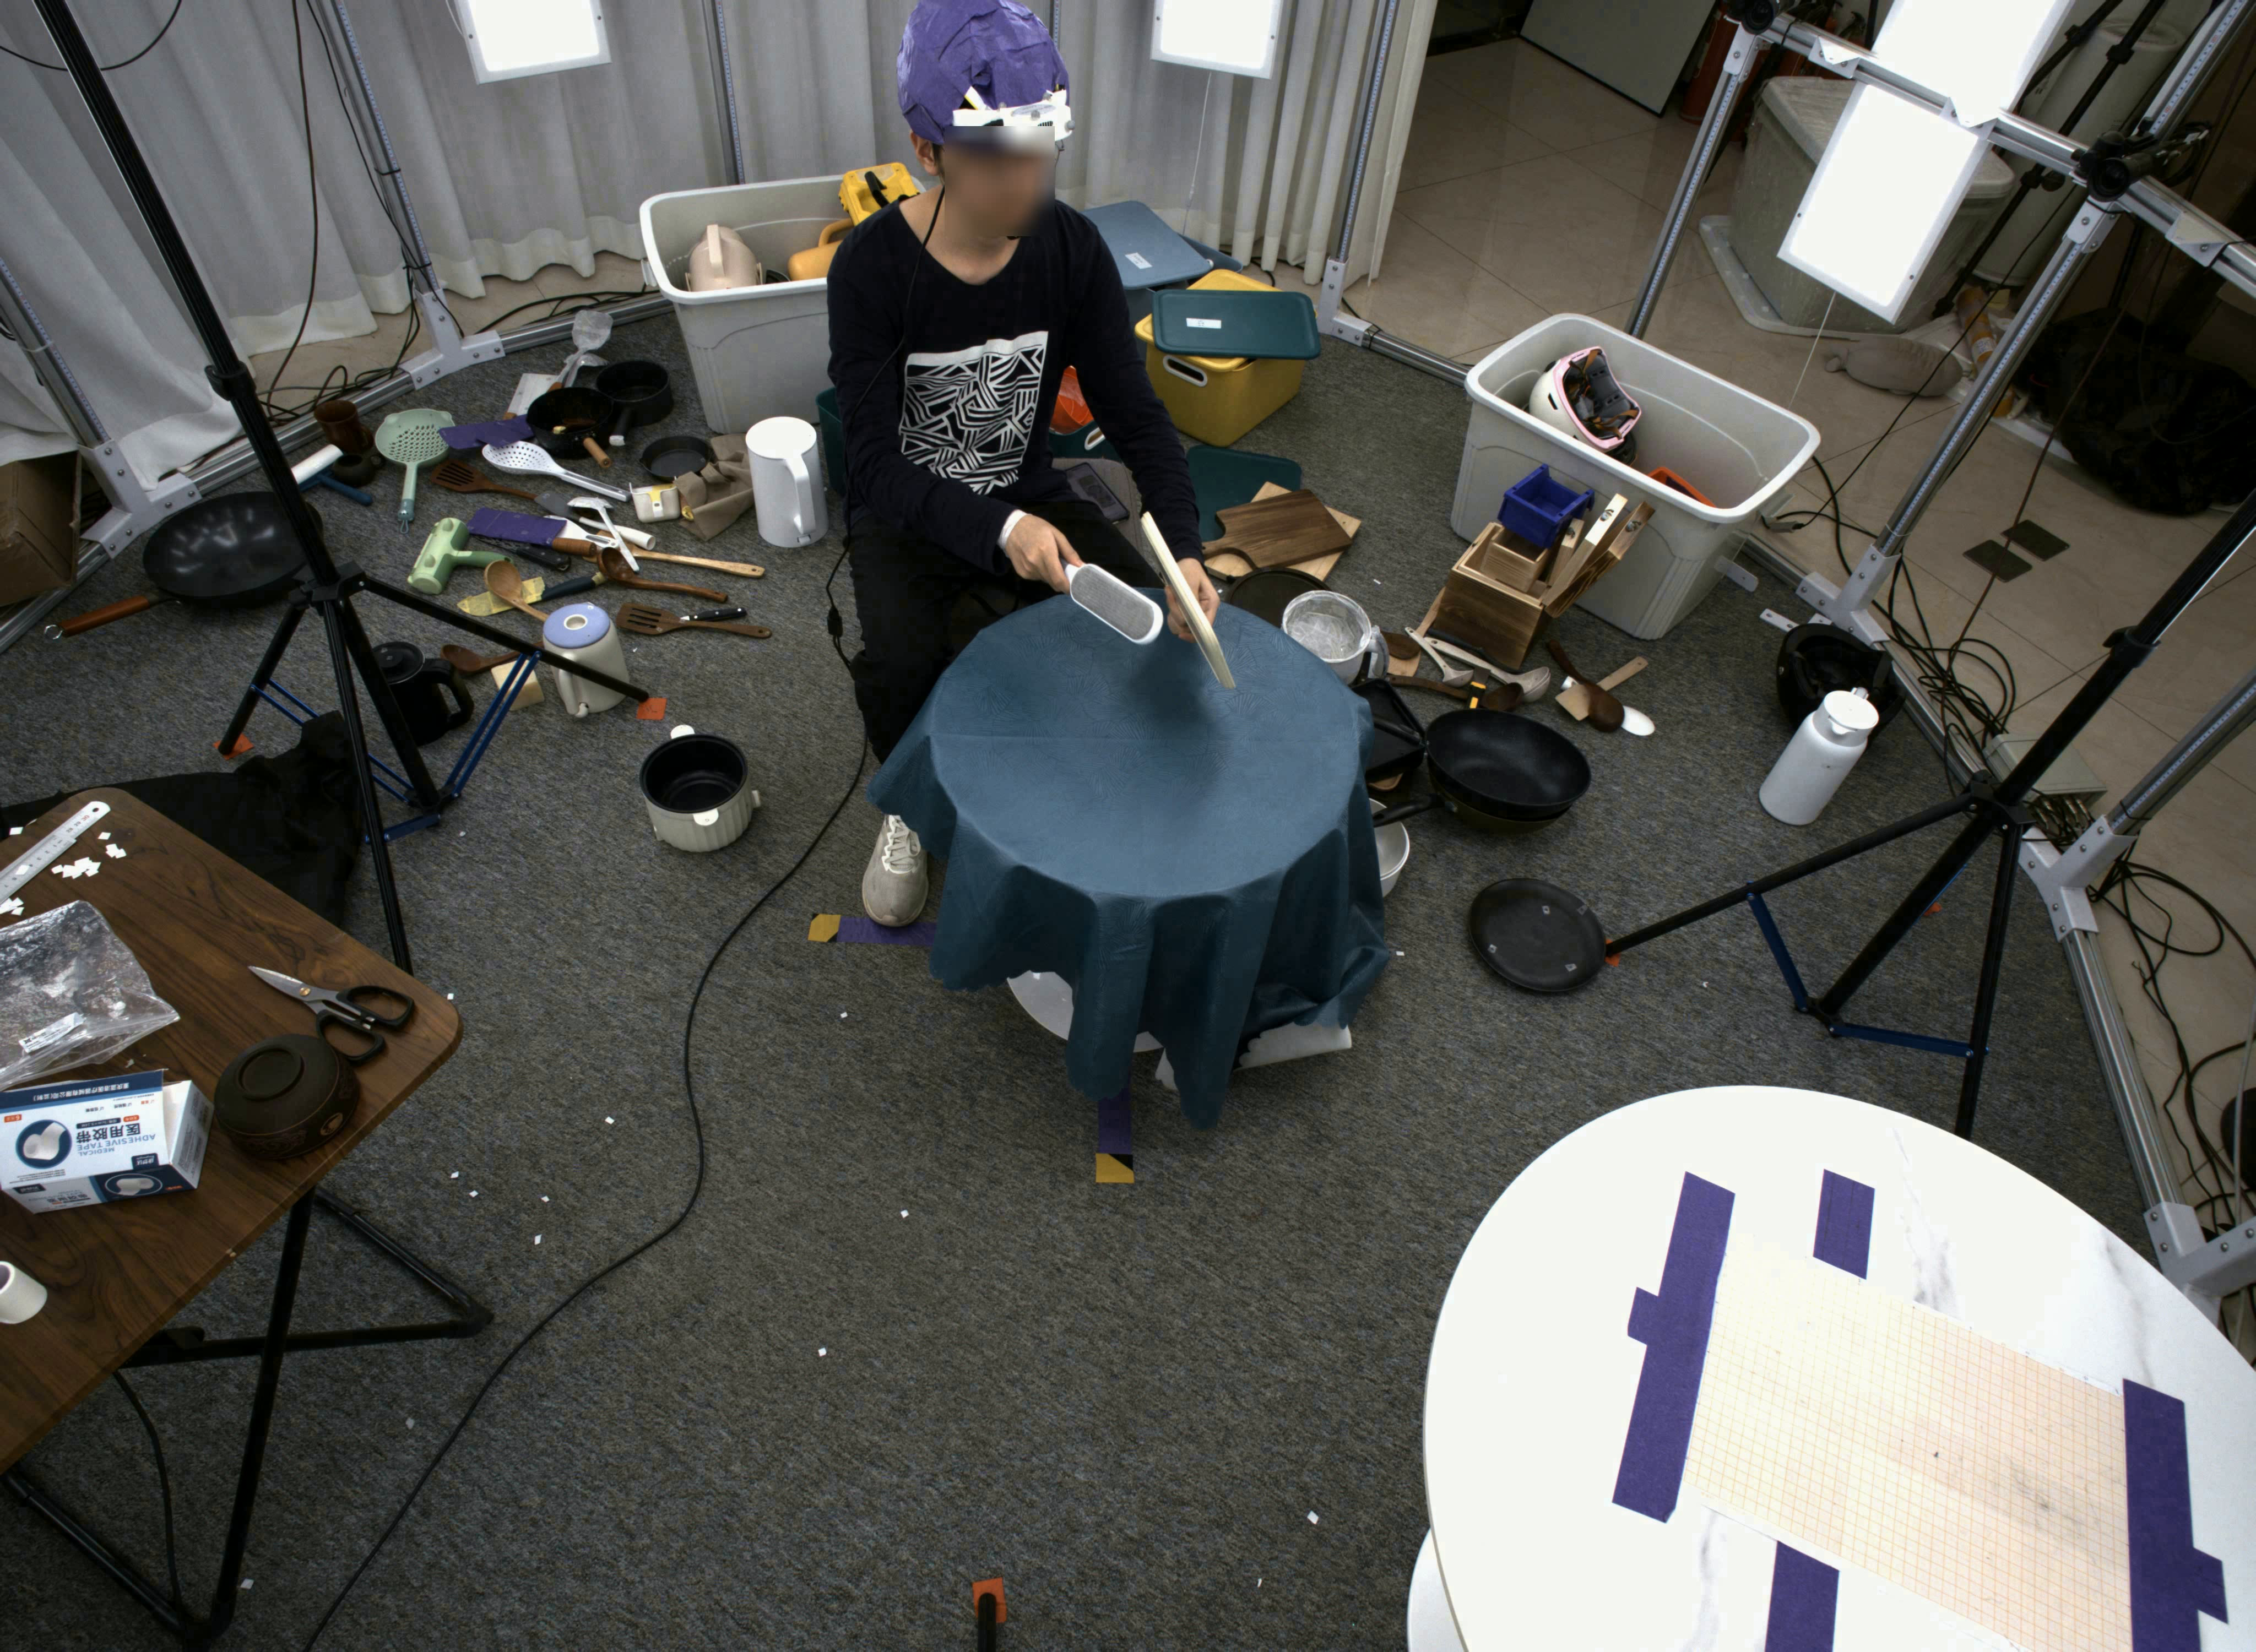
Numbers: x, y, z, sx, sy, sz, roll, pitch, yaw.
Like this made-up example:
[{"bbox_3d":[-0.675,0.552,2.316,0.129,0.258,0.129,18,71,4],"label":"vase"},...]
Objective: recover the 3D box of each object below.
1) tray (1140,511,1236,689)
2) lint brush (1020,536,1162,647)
[{"bbox_3d":[0.079,-0.305,1.750,0.017,0.168,0.244,-27,63,4],"label":"tray"},{"bbox_3d":[-0.055,-0.322,1.717,0.021,0.059,0.315,6,26,-45],"label":"lint brush"}]
